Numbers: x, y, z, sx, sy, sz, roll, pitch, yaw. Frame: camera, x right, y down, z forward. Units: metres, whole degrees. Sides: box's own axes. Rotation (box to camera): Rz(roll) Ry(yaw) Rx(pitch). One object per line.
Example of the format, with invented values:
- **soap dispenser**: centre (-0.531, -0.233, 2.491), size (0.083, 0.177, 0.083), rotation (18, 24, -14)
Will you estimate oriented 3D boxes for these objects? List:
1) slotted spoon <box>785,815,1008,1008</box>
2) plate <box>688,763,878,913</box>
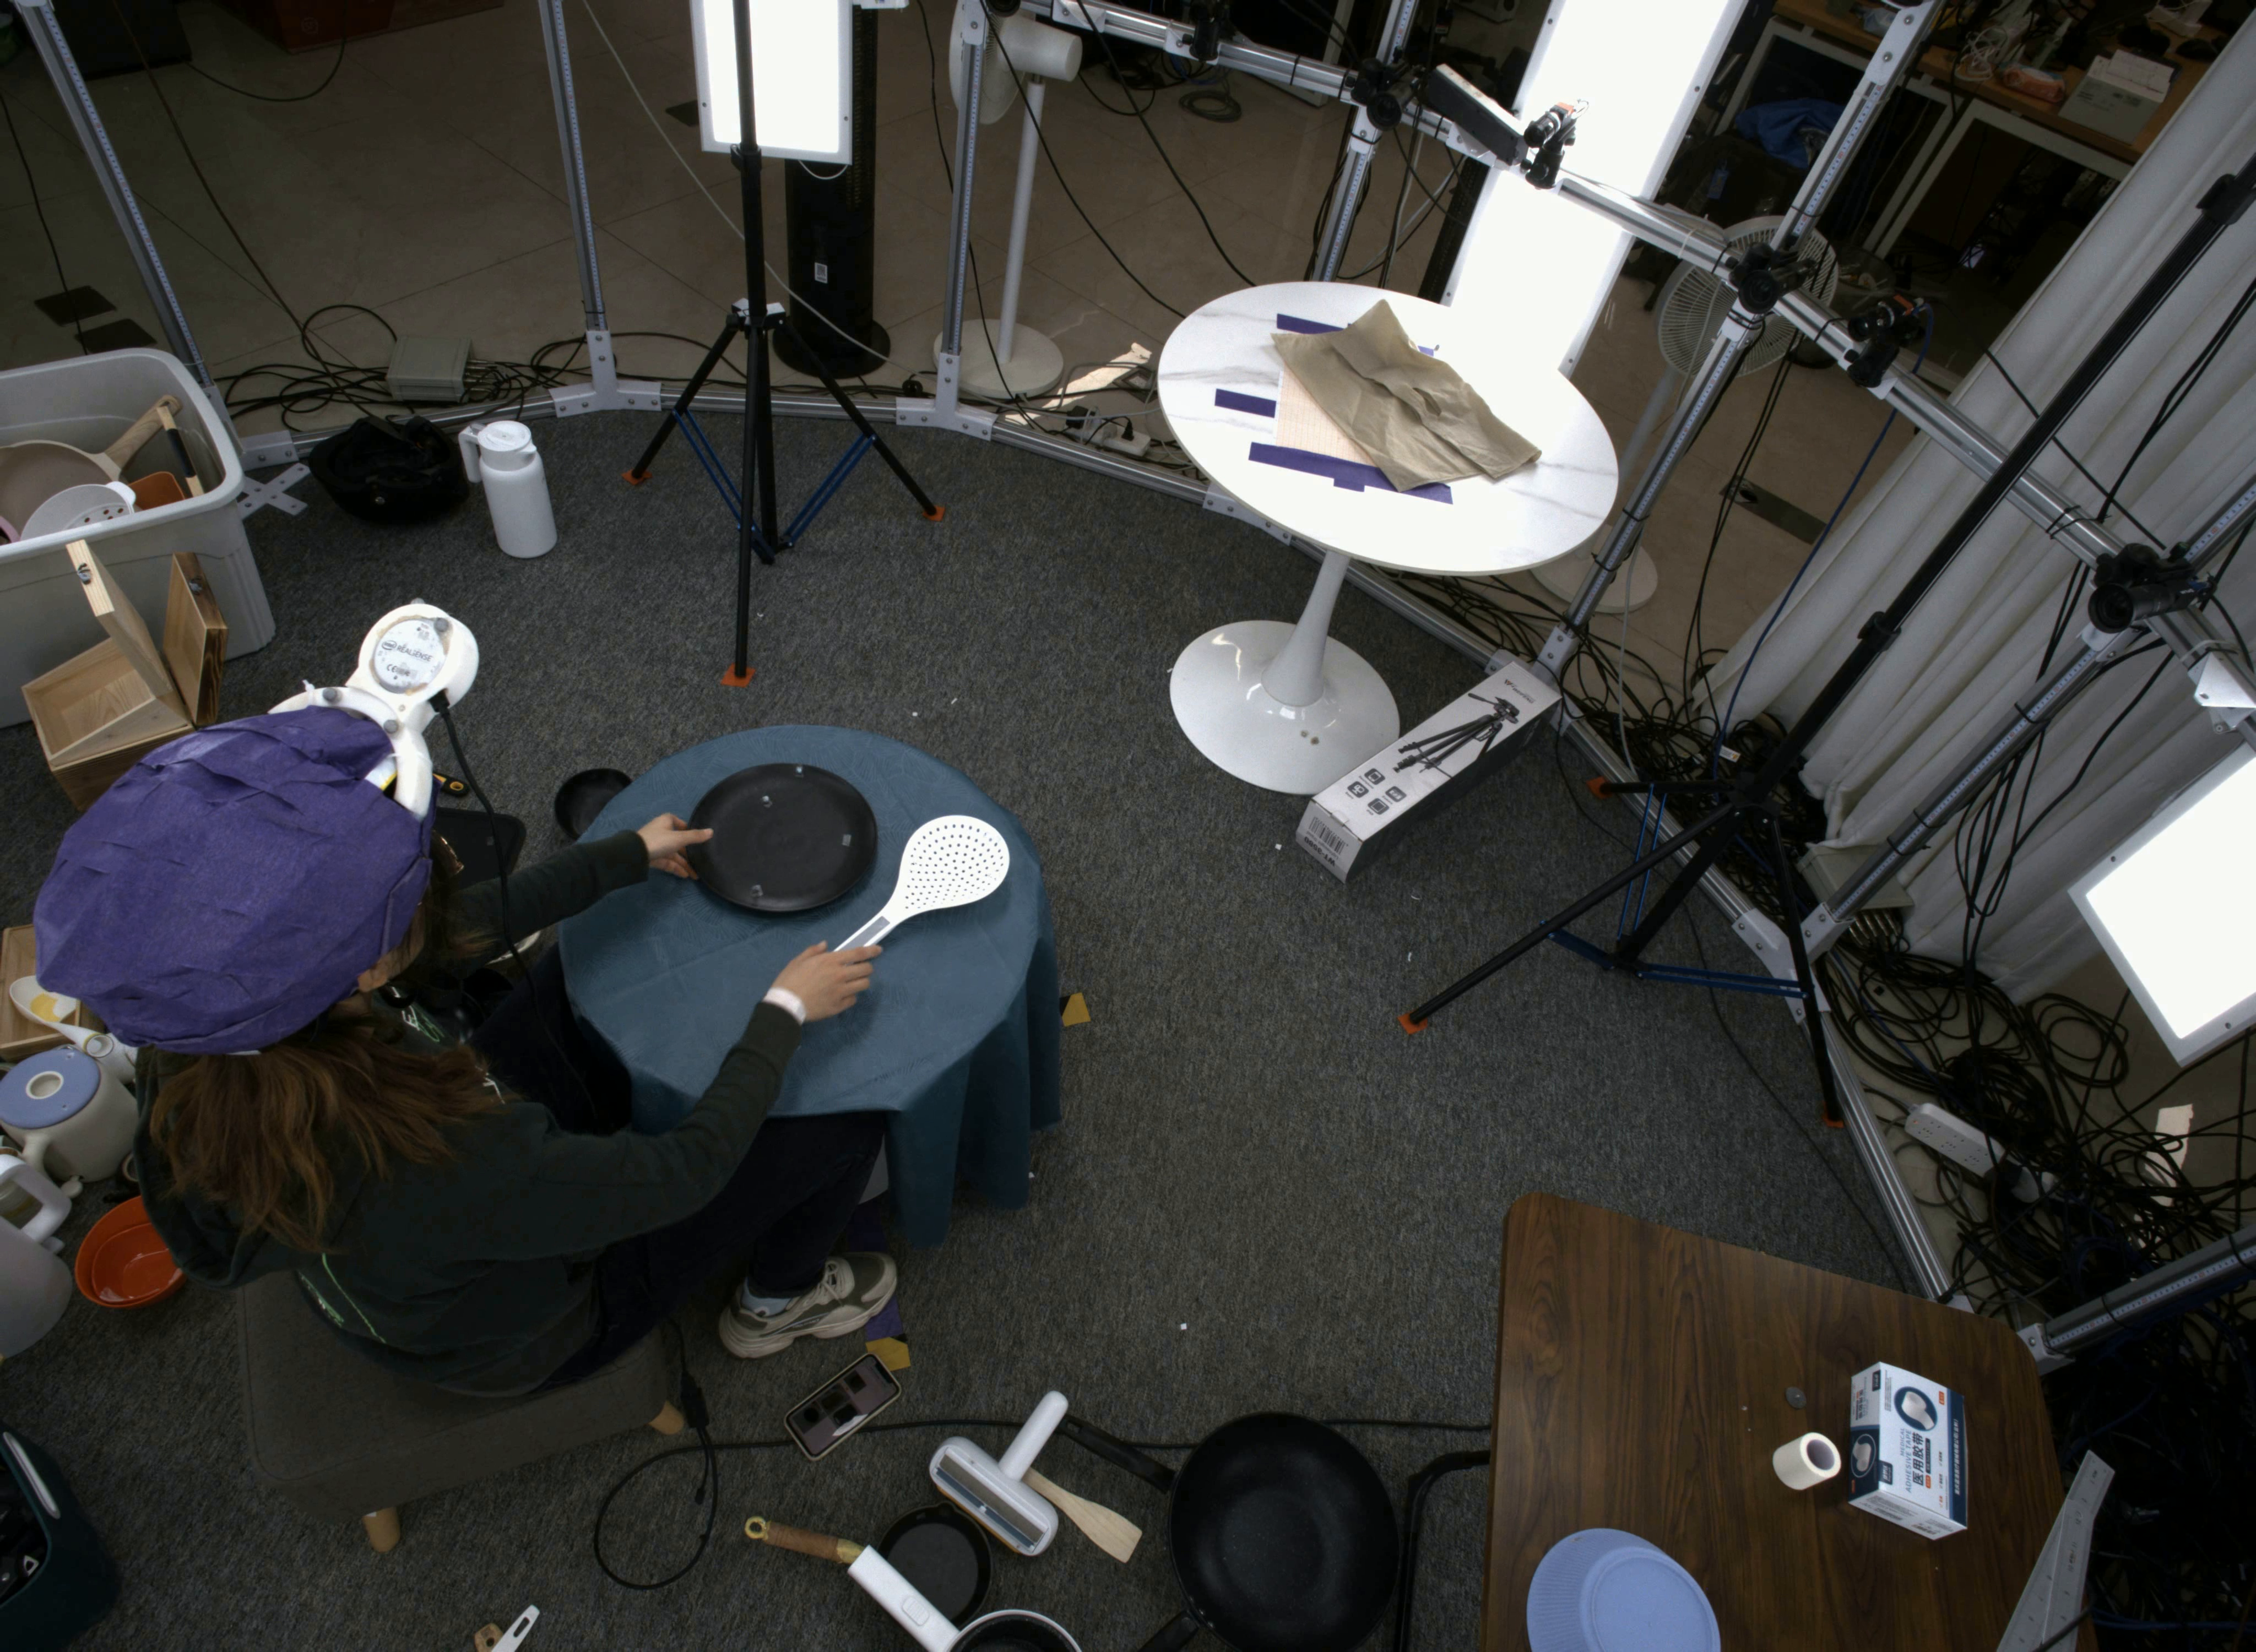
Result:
- **slotted spoon**: centre (-0.295, 0.108, 1.653), size (0.133, 0.047, 0.350), rotation (38, 55, 17)
- **plate**: centre (-0.450, 0.016, 1.696), size (0.244, 0.024, 0.240), rotation (8, 53, -9)
